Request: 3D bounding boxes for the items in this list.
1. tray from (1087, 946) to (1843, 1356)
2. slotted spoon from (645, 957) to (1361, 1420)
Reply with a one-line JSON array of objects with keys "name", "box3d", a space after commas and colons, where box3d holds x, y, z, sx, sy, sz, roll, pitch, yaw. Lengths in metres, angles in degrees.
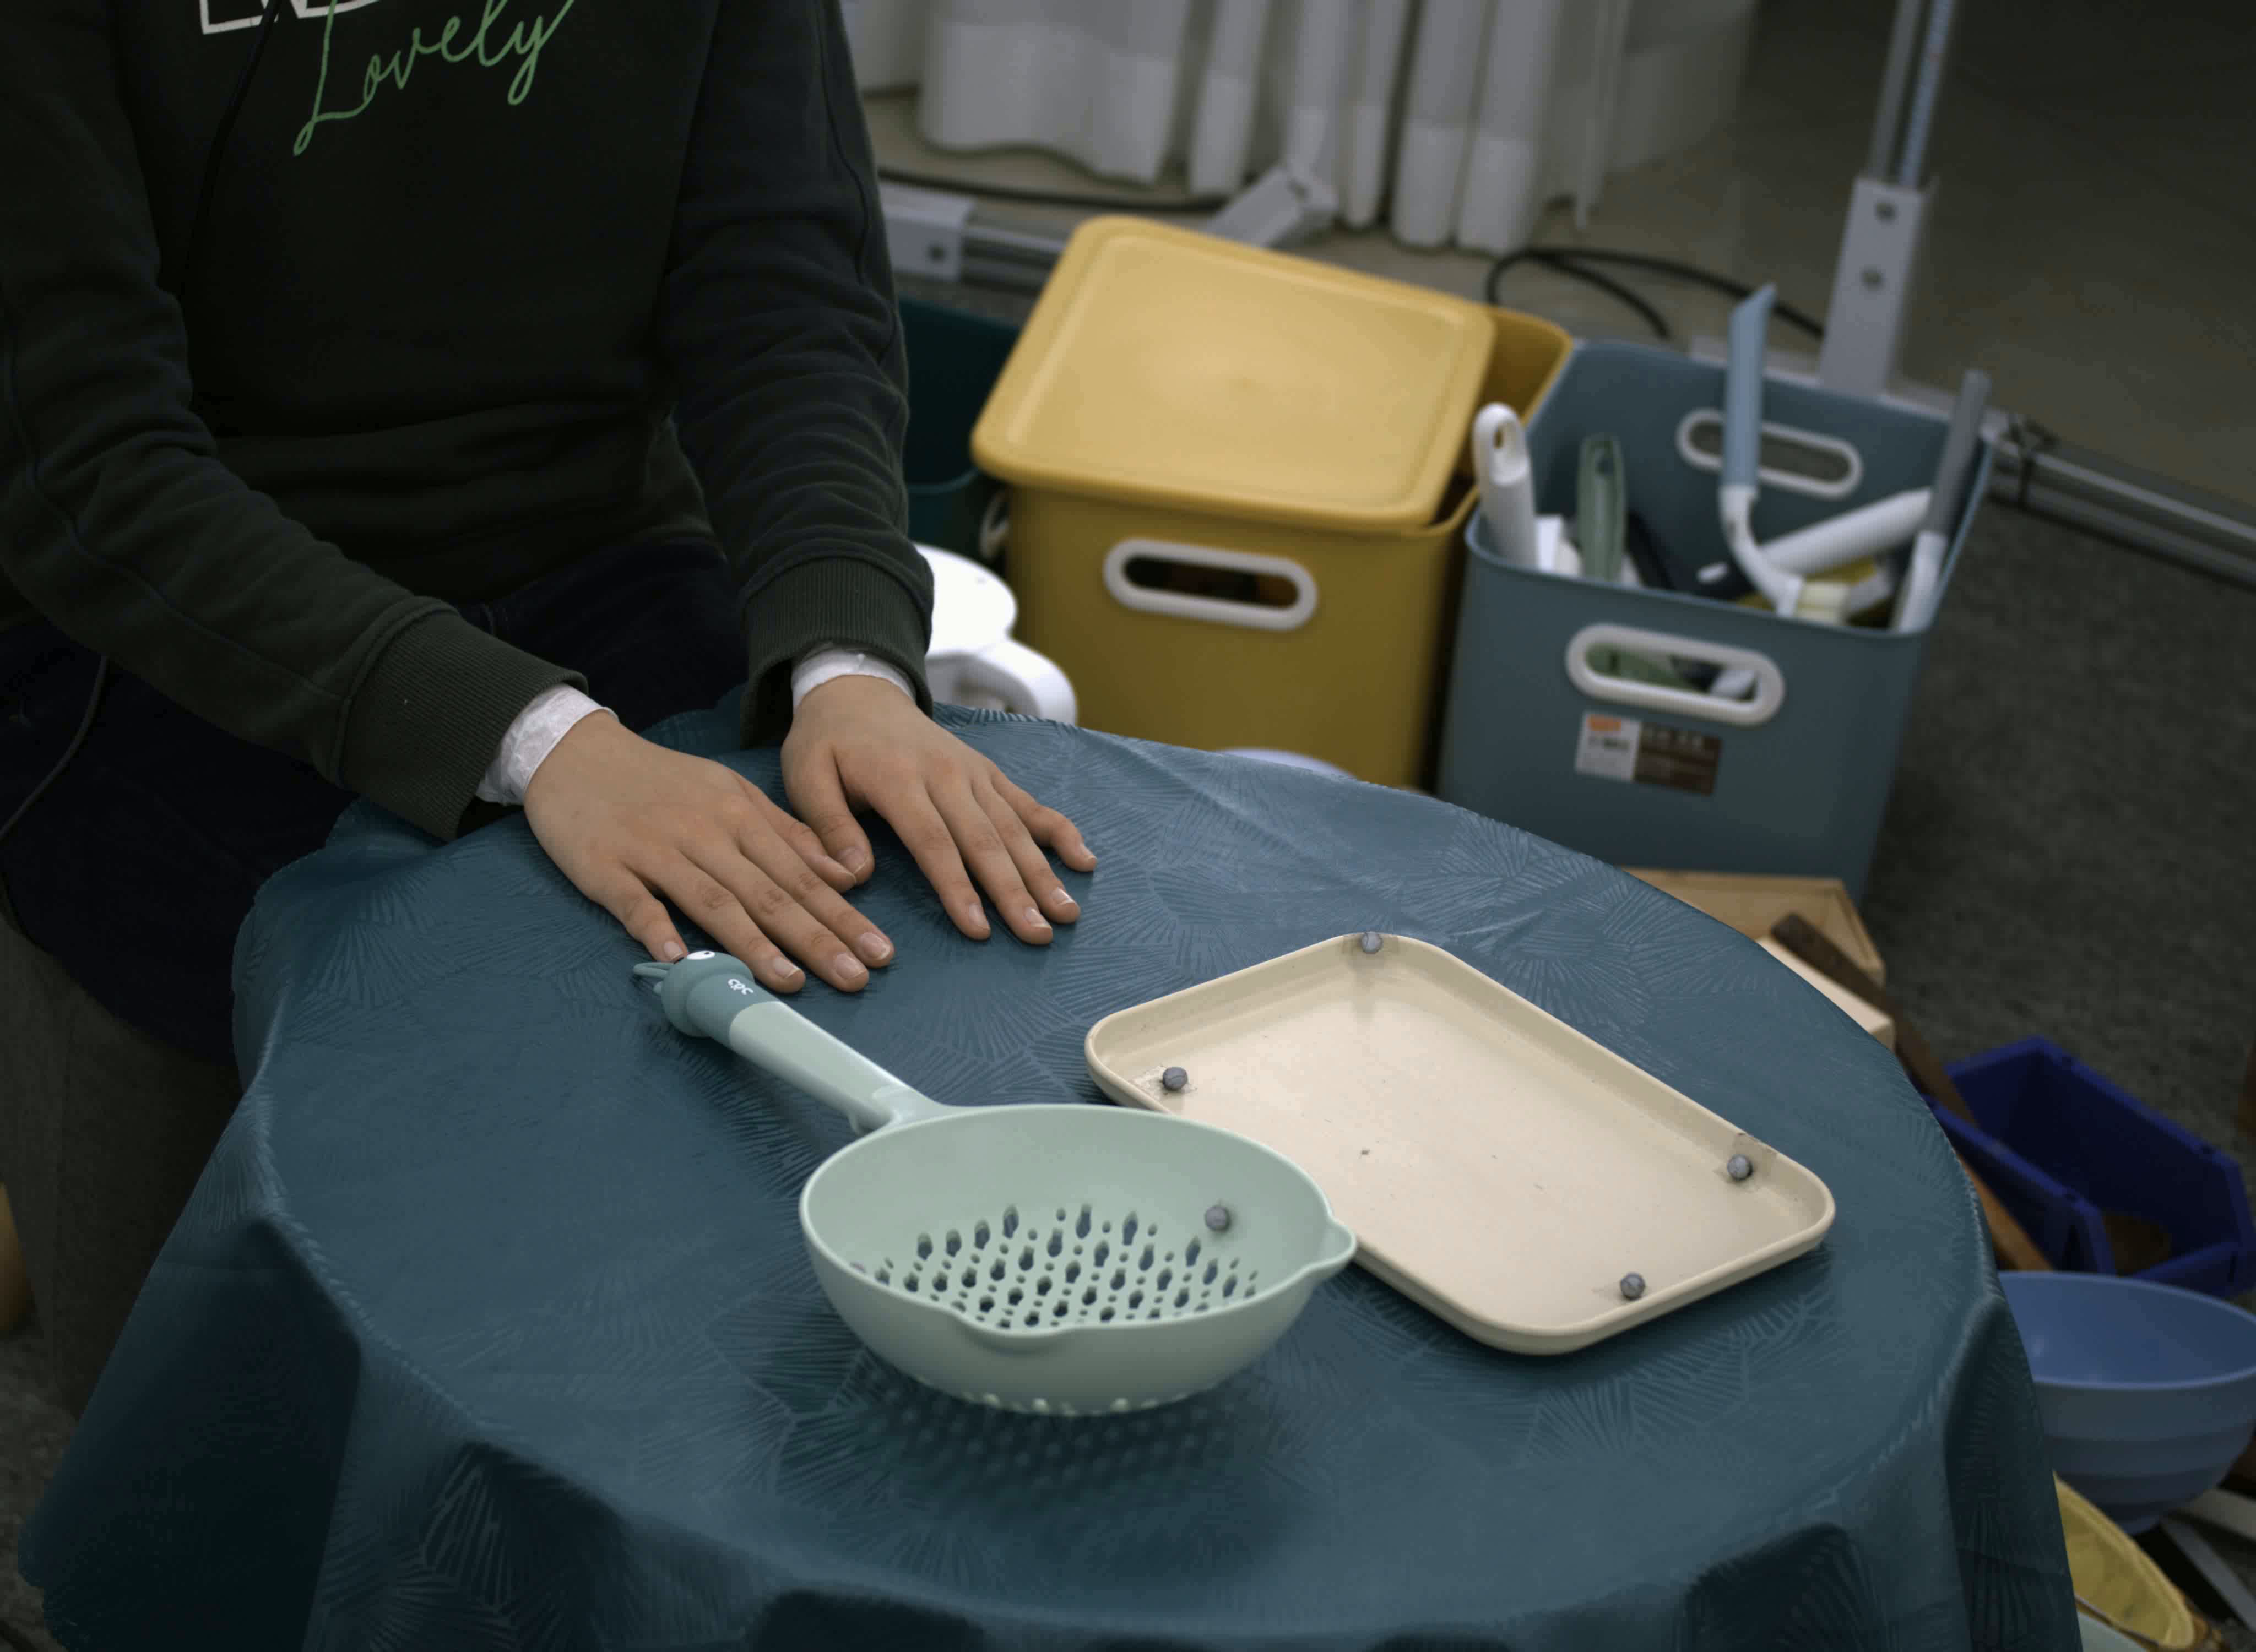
[{"name": "tray", "box3d": [0.114, 0.110, 1.834, 0.170, 0.017, 0.241, -17, 34, -39]}, {"name": "slotted spoon", "box3d": [-0.071, 0.103, 1.754, 0.168, 0.075, 0.362, -10, 30, -31]}]
